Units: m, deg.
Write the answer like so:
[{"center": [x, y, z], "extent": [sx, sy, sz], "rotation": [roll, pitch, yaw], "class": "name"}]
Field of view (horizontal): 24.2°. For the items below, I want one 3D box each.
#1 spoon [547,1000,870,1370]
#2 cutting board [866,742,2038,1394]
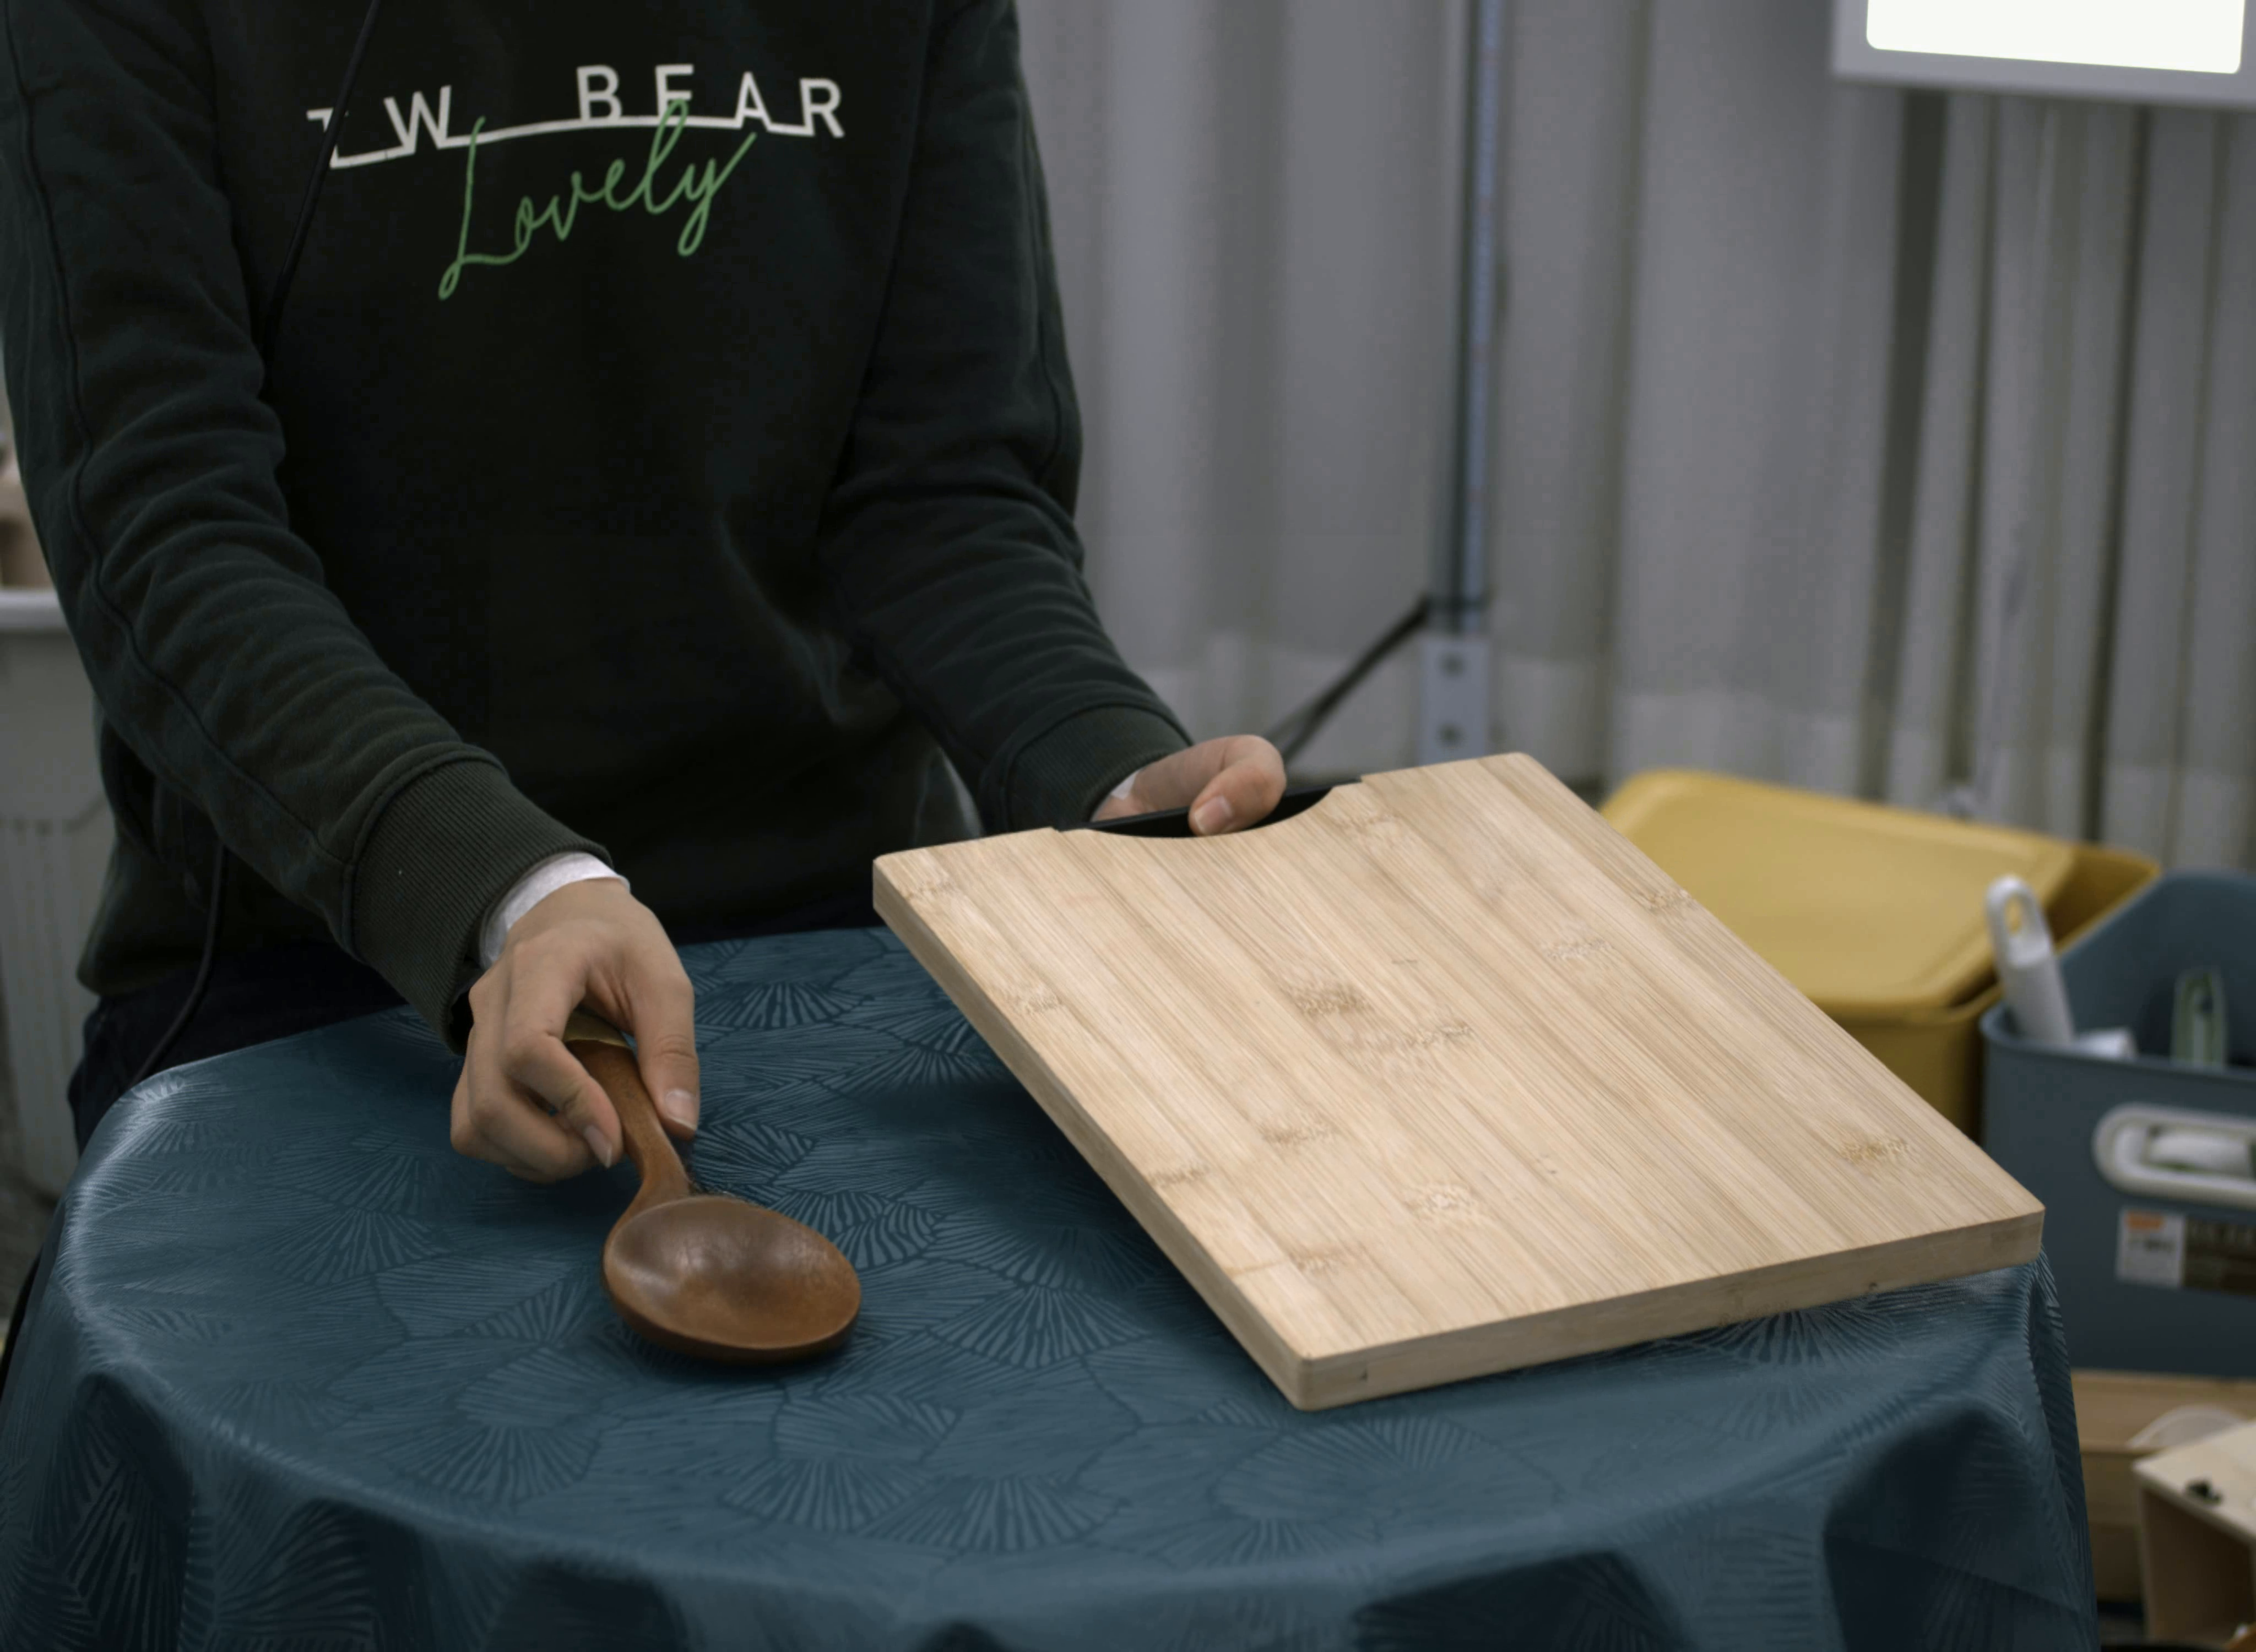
[{"center": [-0.134, 0.106, 1.557], "extent": [0.076, 0.017, 0.213], "rotation": [-3, 27, -21], "class": "spoon"}, {"center": [0.090, 0.066, 1.635], "extent": [0.251, 0.024, 0.344], "rotation": [-9, 28, -23], "class": "cutting board"}]
